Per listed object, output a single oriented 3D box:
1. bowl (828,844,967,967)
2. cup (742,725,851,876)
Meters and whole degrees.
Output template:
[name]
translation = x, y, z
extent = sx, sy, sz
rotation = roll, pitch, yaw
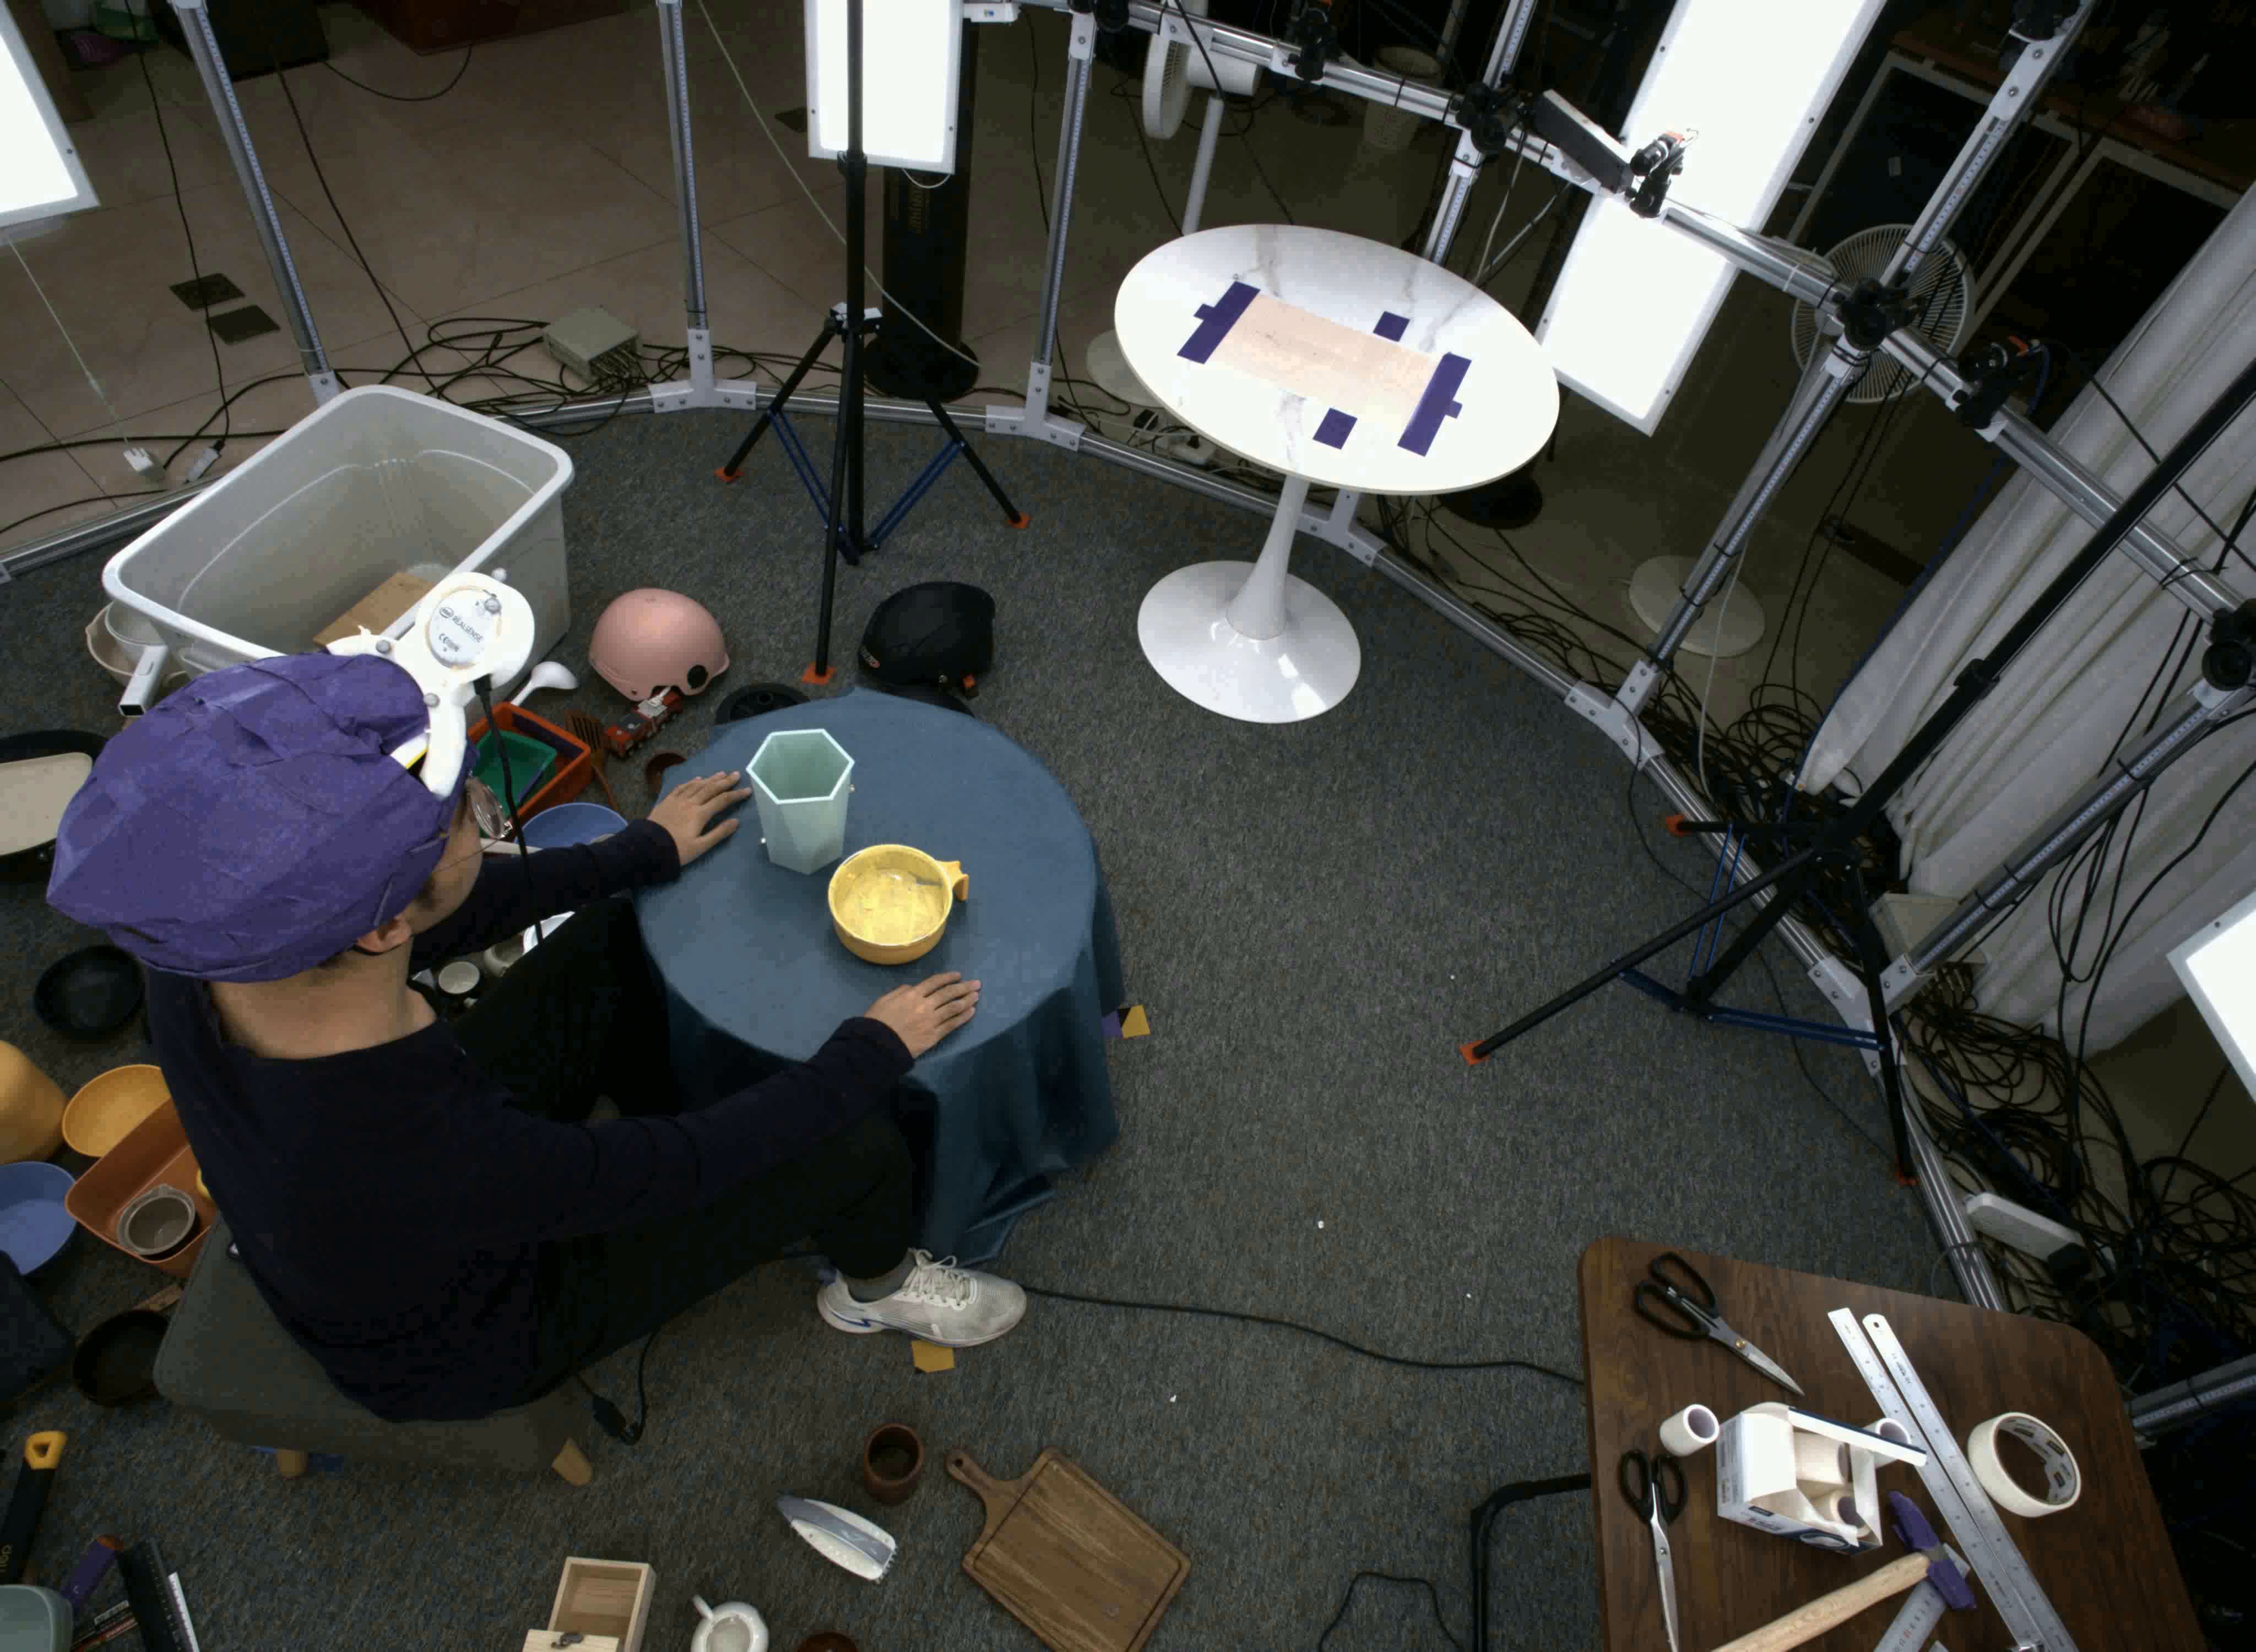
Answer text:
[bowl]
translation = -0.288, 0.099, 1.643
extent = 0.180, 0.076, 0.149
rotation = -27, 64, -26
[cup]
translation = -0.414, -0.029, 1.644
extent = 0.128, 0.166, 0.115
rotation = 41, 57, 20
